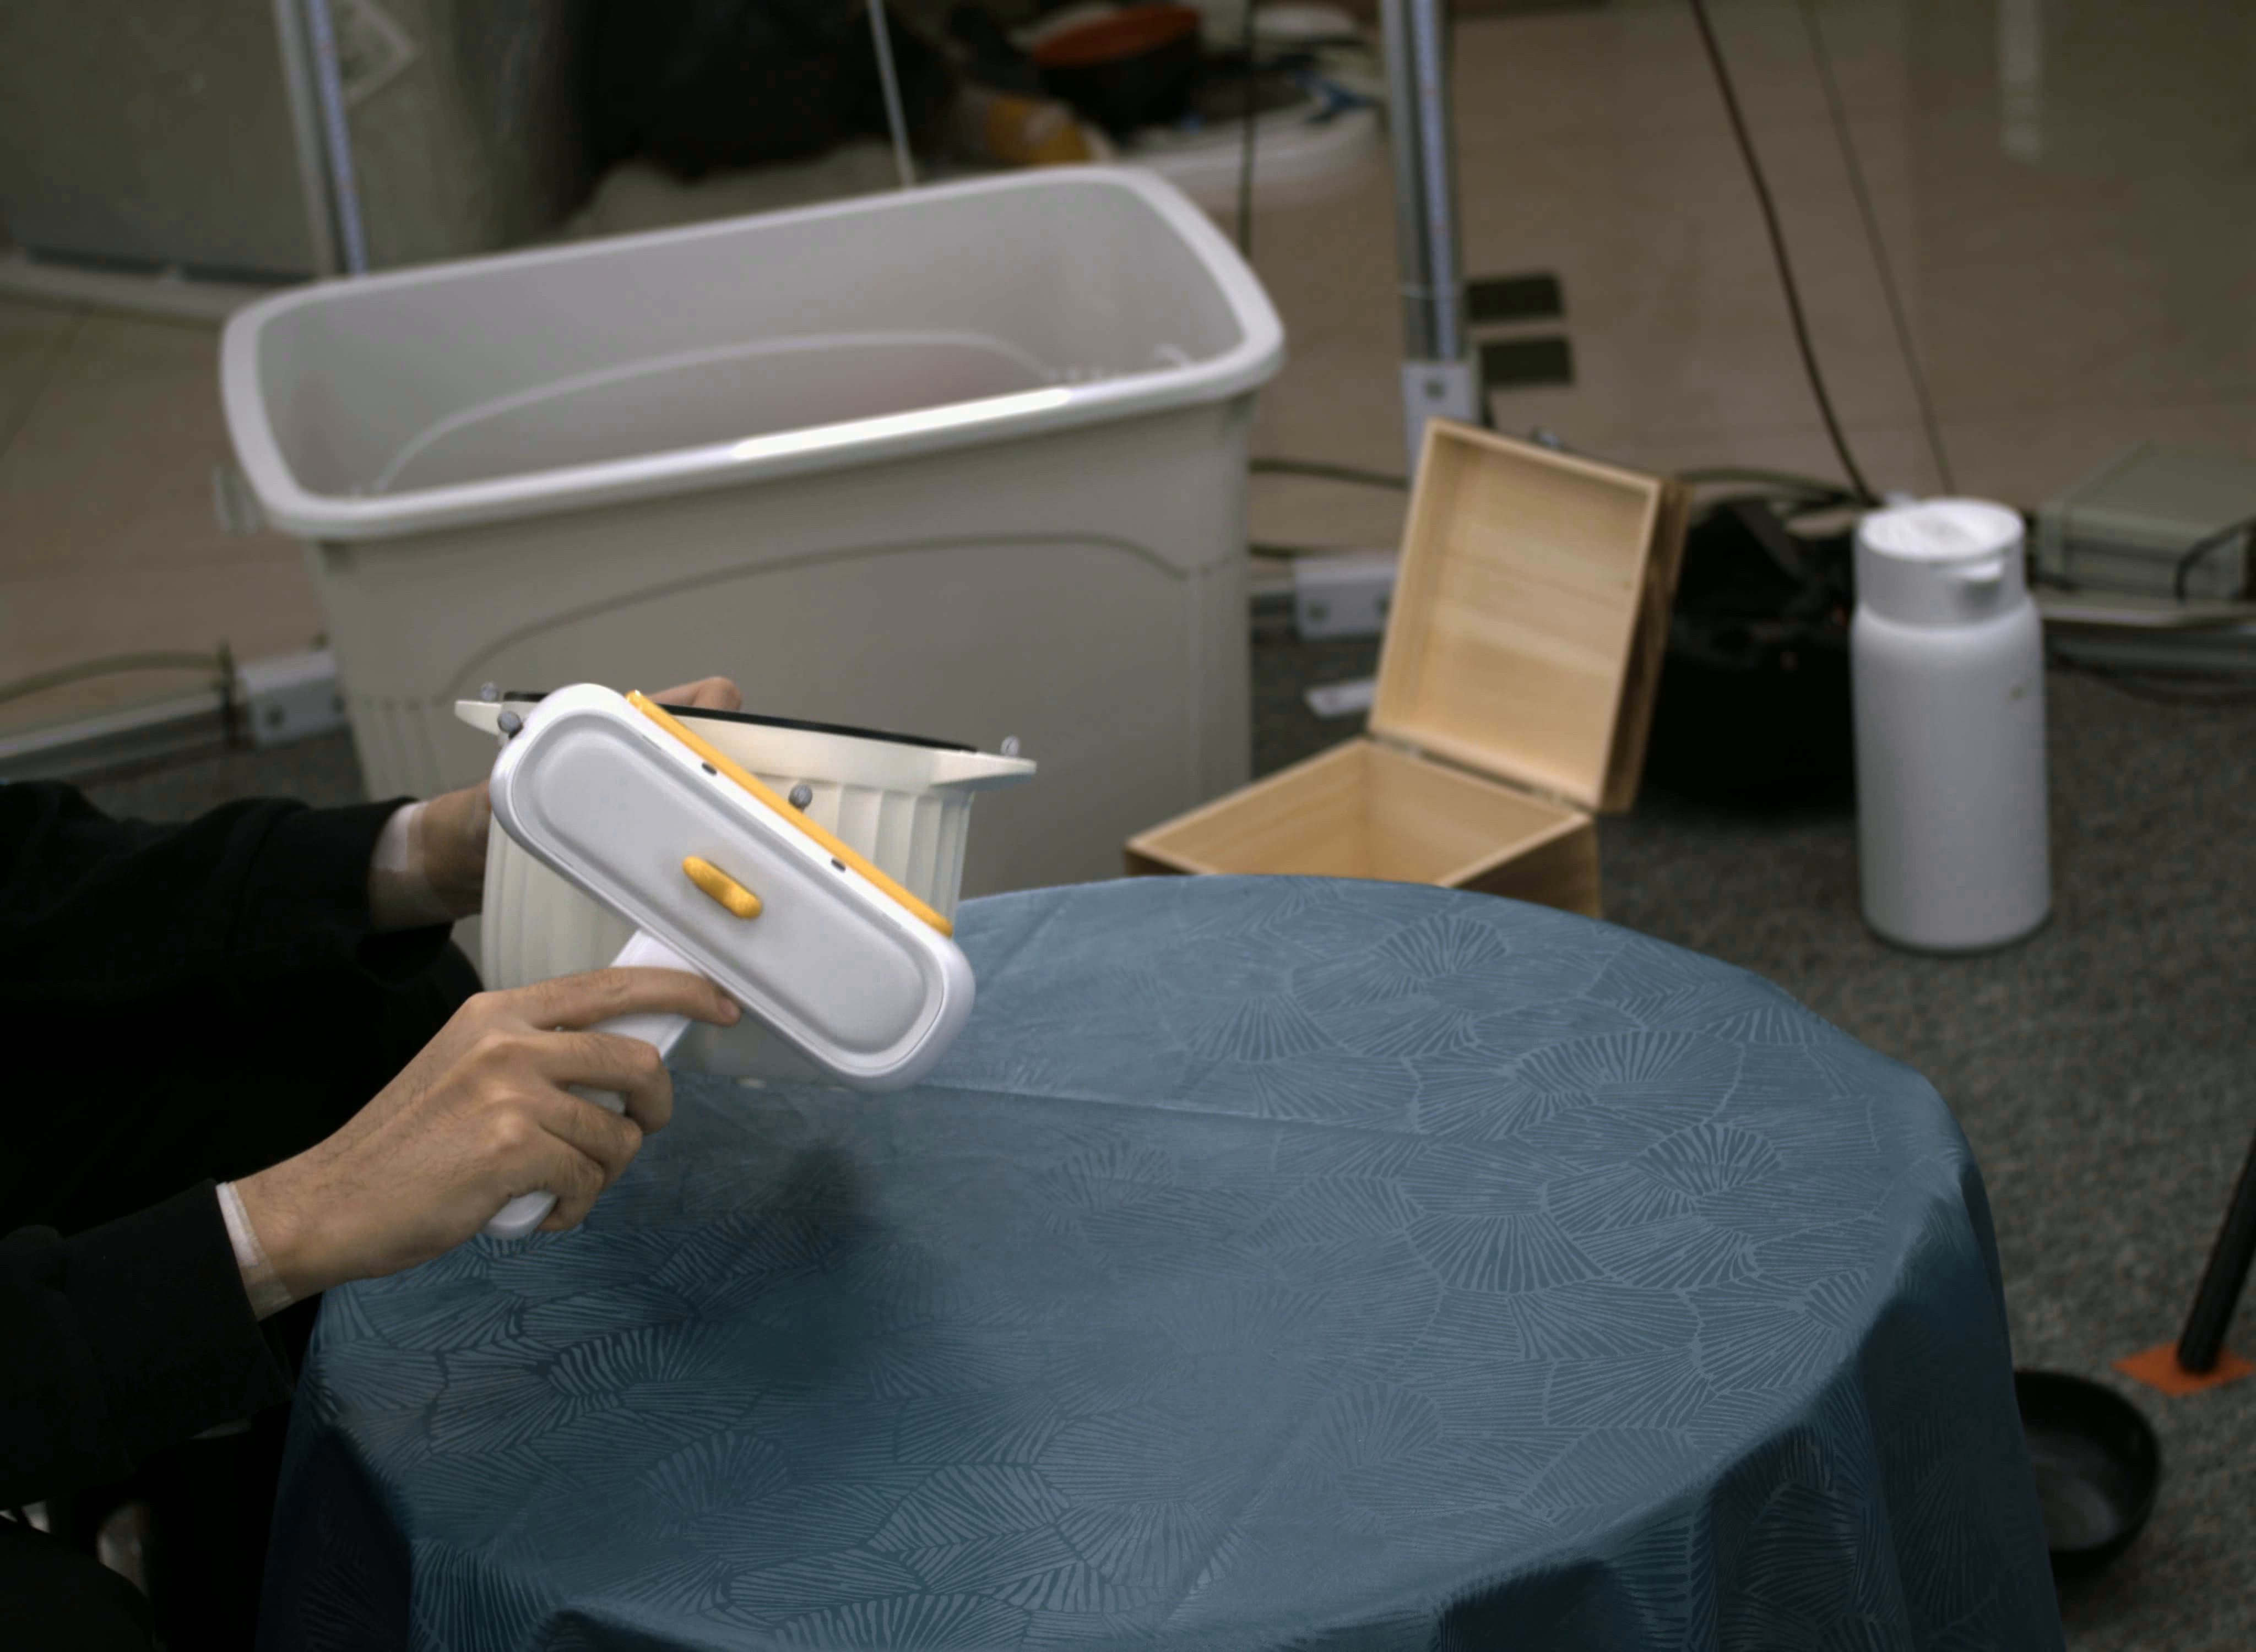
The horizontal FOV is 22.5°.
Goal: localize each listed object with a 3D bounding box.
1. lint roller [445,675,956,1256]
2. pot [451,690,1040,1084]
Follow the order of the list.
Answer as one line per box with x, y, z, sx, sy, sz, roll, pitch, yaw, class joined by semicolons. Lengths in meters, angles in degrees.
-0.180;0.067;2.008;0.191;0.193;0.074;-57;6;-9;lint roller
-0.151;0.024;2.144;0.239;0.143;0.190;7;3;20;pot
